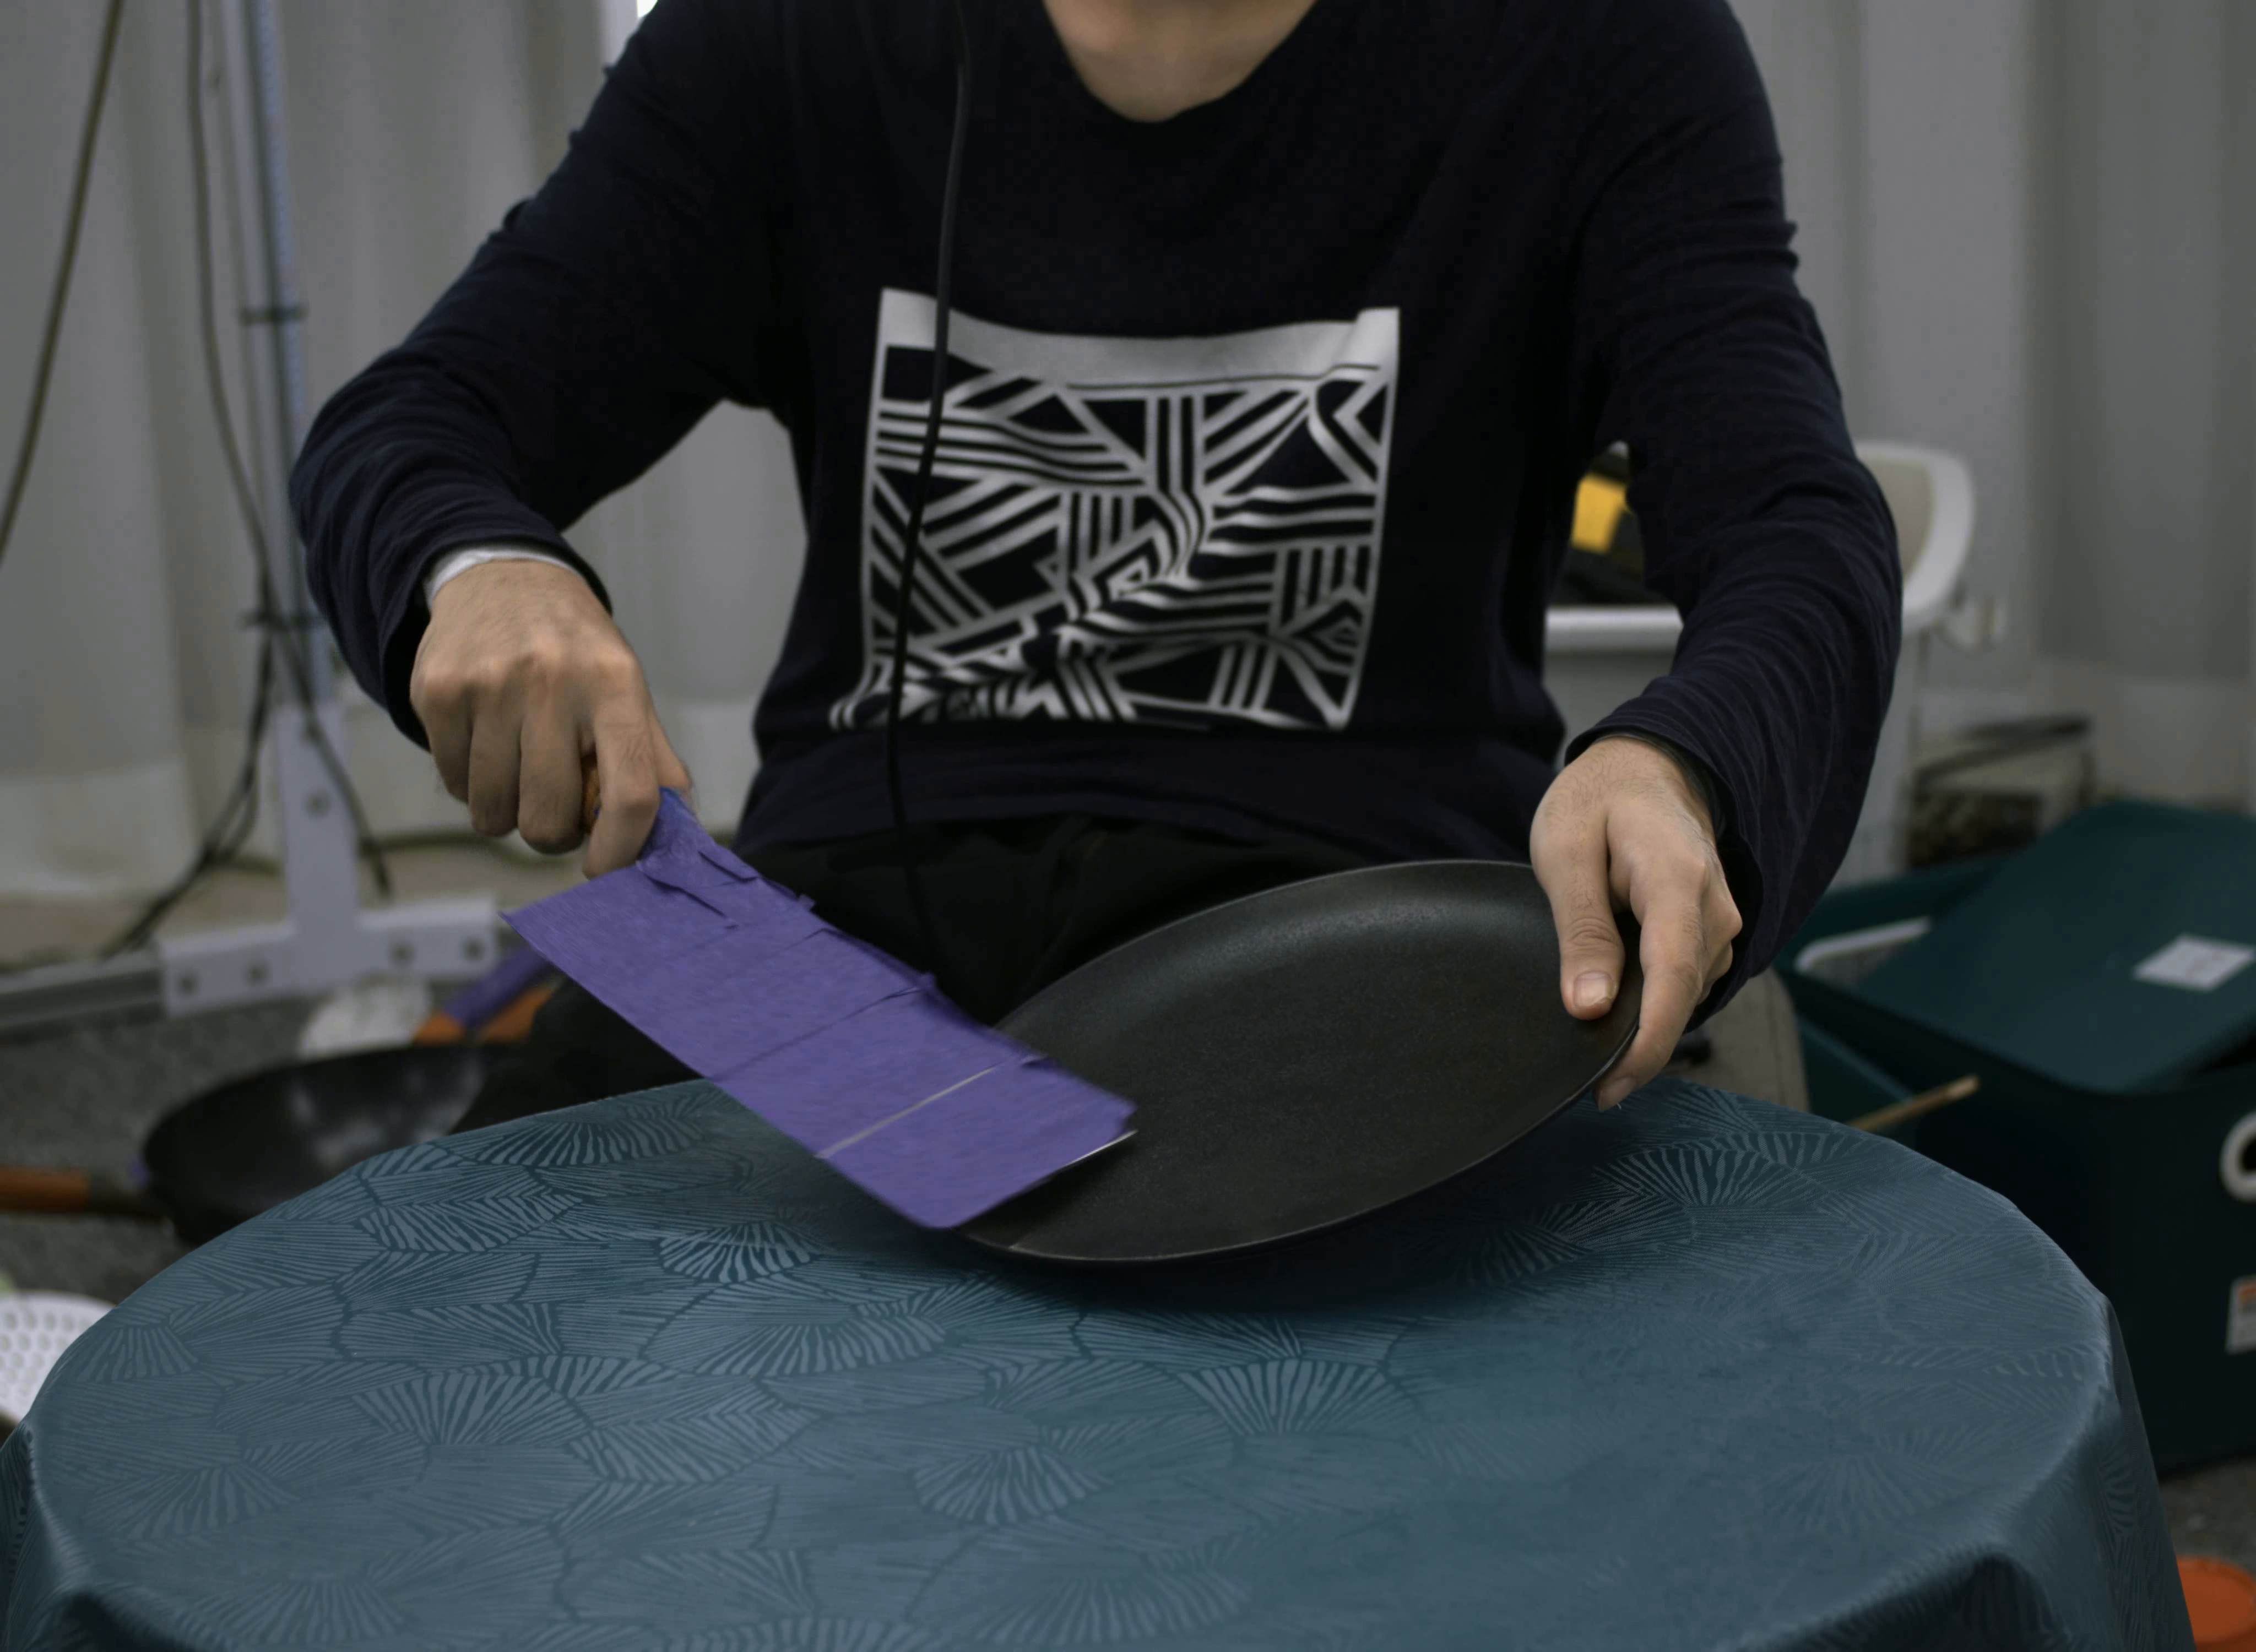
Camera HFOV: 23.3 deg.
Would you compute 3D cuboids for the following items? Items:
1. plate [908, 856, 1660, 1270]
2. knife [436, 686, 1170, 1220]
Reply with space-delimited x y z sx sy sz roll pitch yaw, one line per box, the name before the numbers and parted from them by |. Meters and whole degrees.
plate | 0.049 0.078 1.702 0.244 0.023 0.247 -16 23 7
knife | -0.132 0.037 1.758 0.318 0.032 0.104 29 37 34
